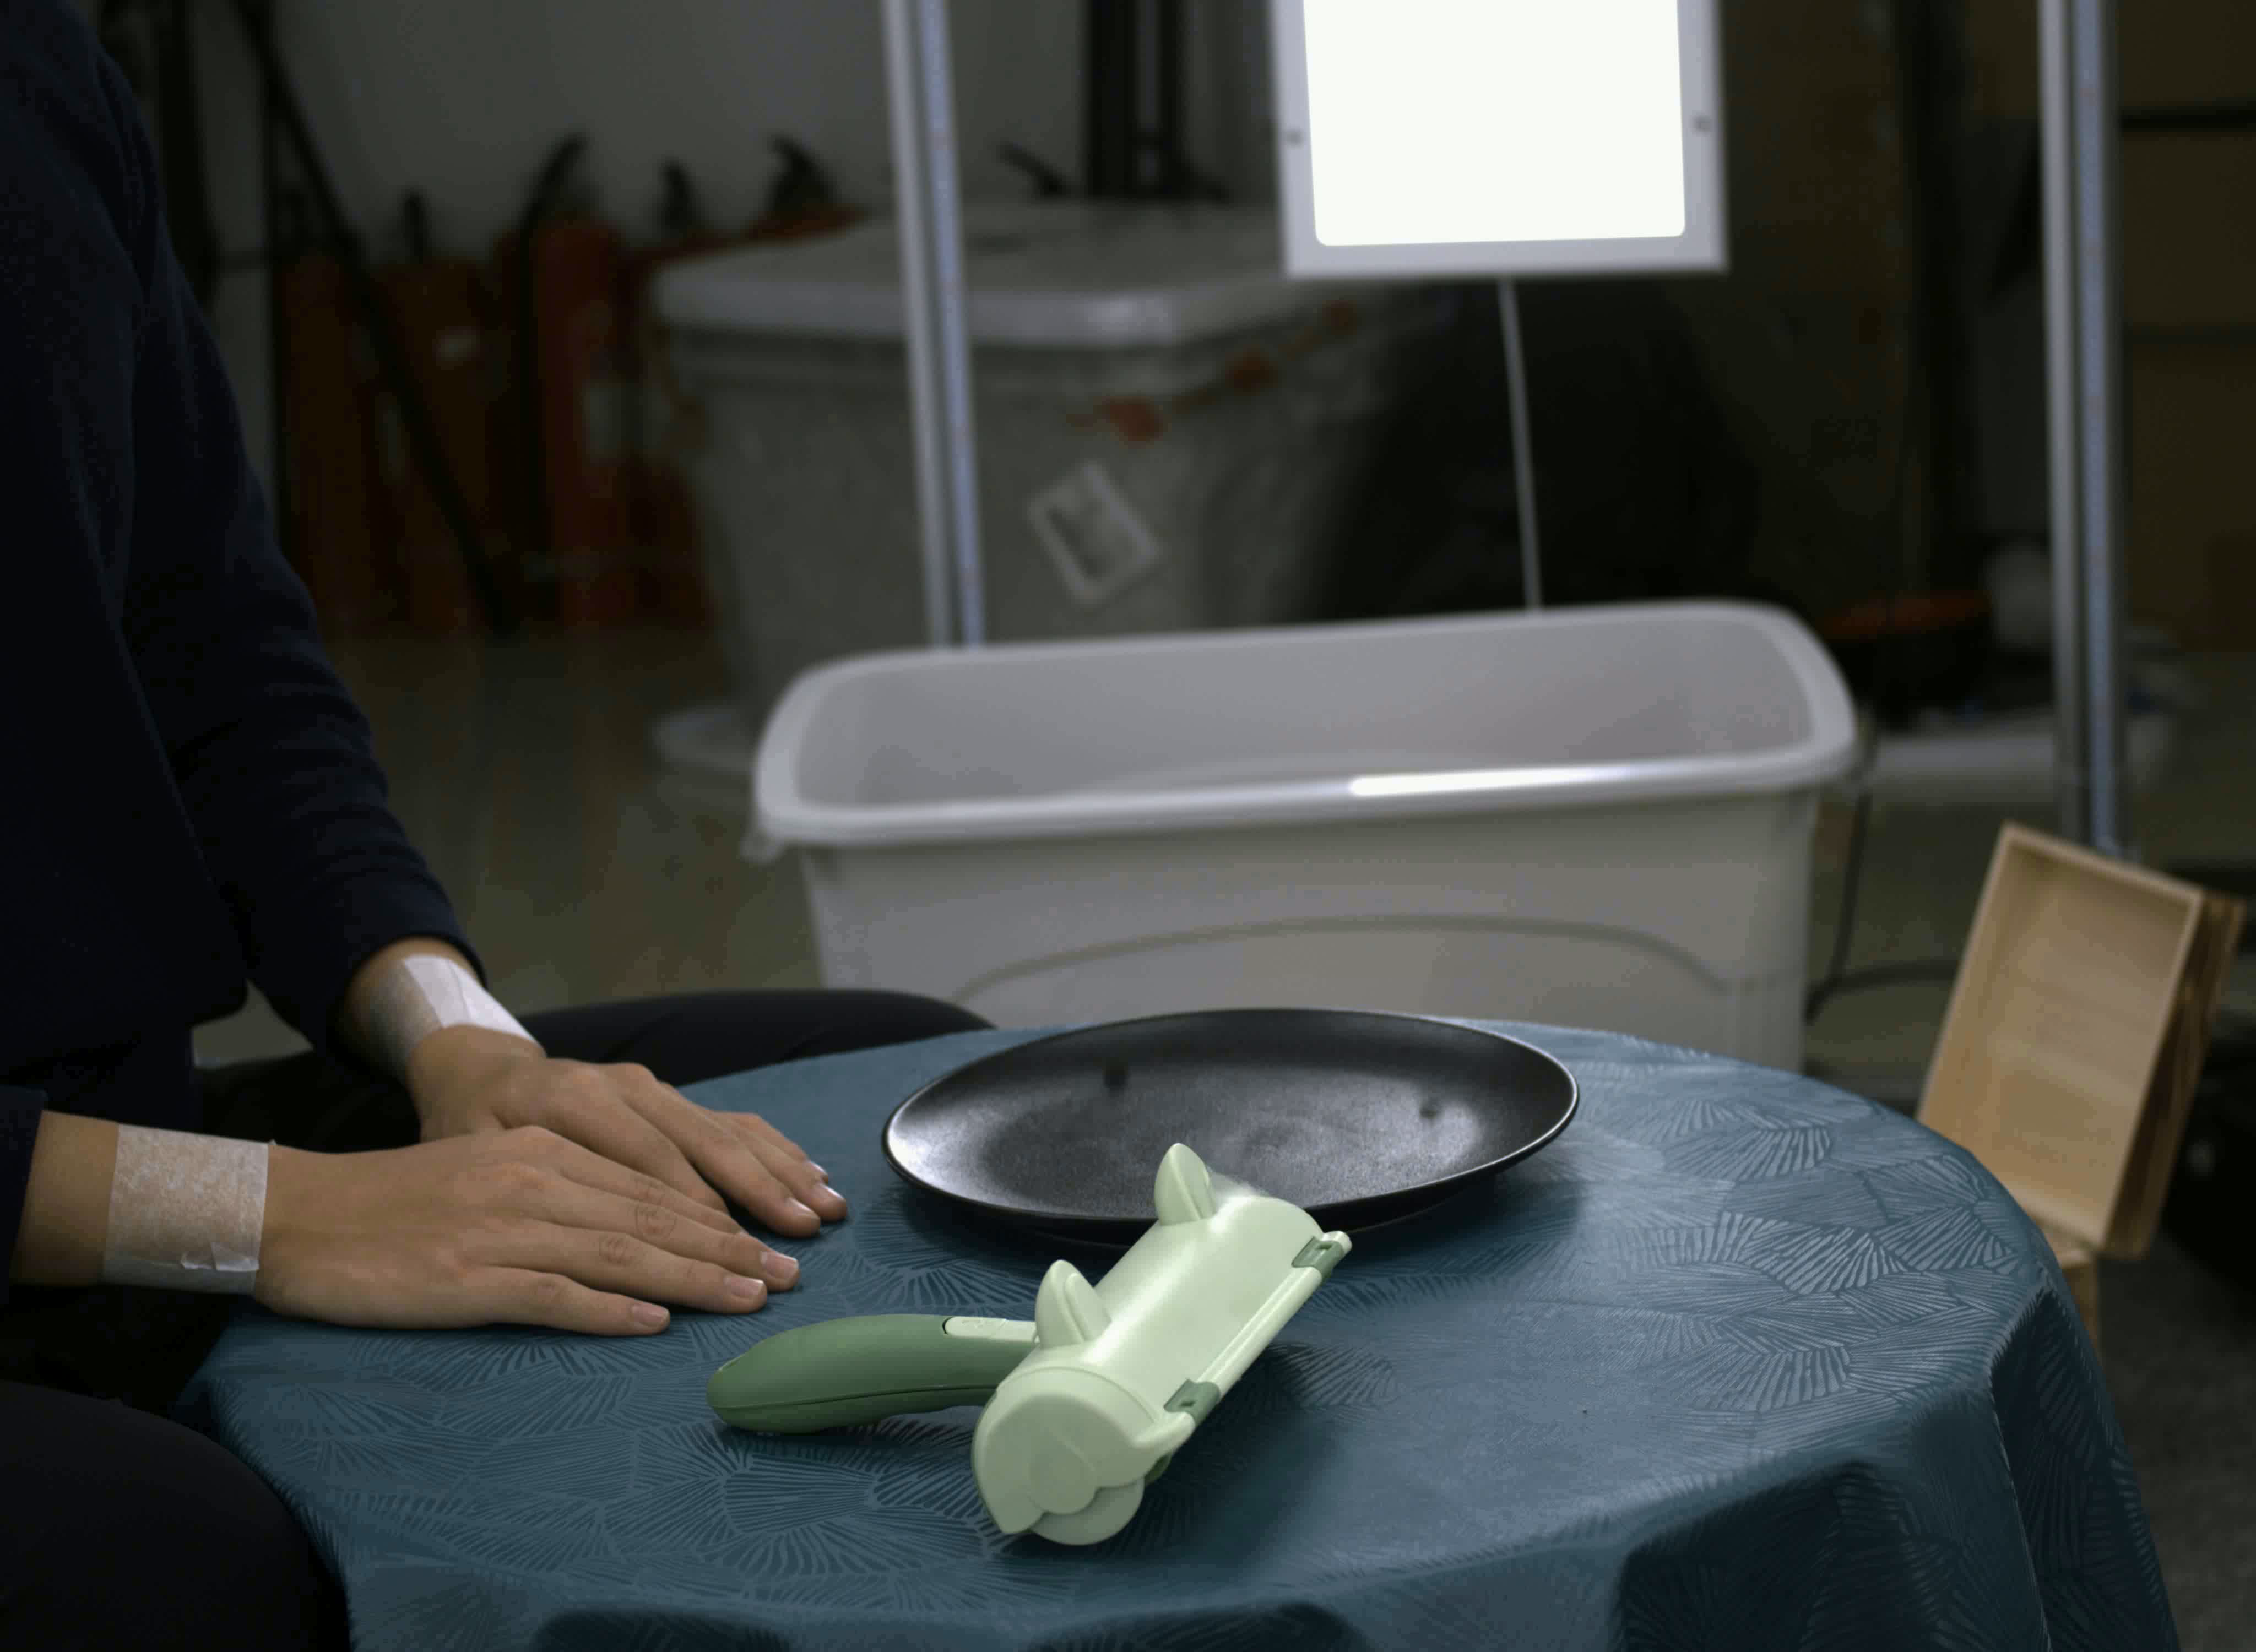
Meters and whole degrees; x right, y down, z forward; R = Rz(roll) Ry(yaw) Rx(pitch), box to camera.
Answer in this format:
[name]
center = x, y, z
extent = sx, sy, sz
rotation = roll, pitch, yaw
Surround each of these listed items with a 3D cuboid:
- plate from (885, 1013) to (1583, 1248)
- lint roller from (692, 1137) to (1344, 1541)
[plate]
center = 0.037, 0.108, 1.910
extent = 0.244, 0.023, 0.244
rotation = -5, 14, 0
[lint roller]
center = -0.045, 0.144, 1.662
extent = 0.185, 0.082, 0.195
rotation = 6, 15, 17
